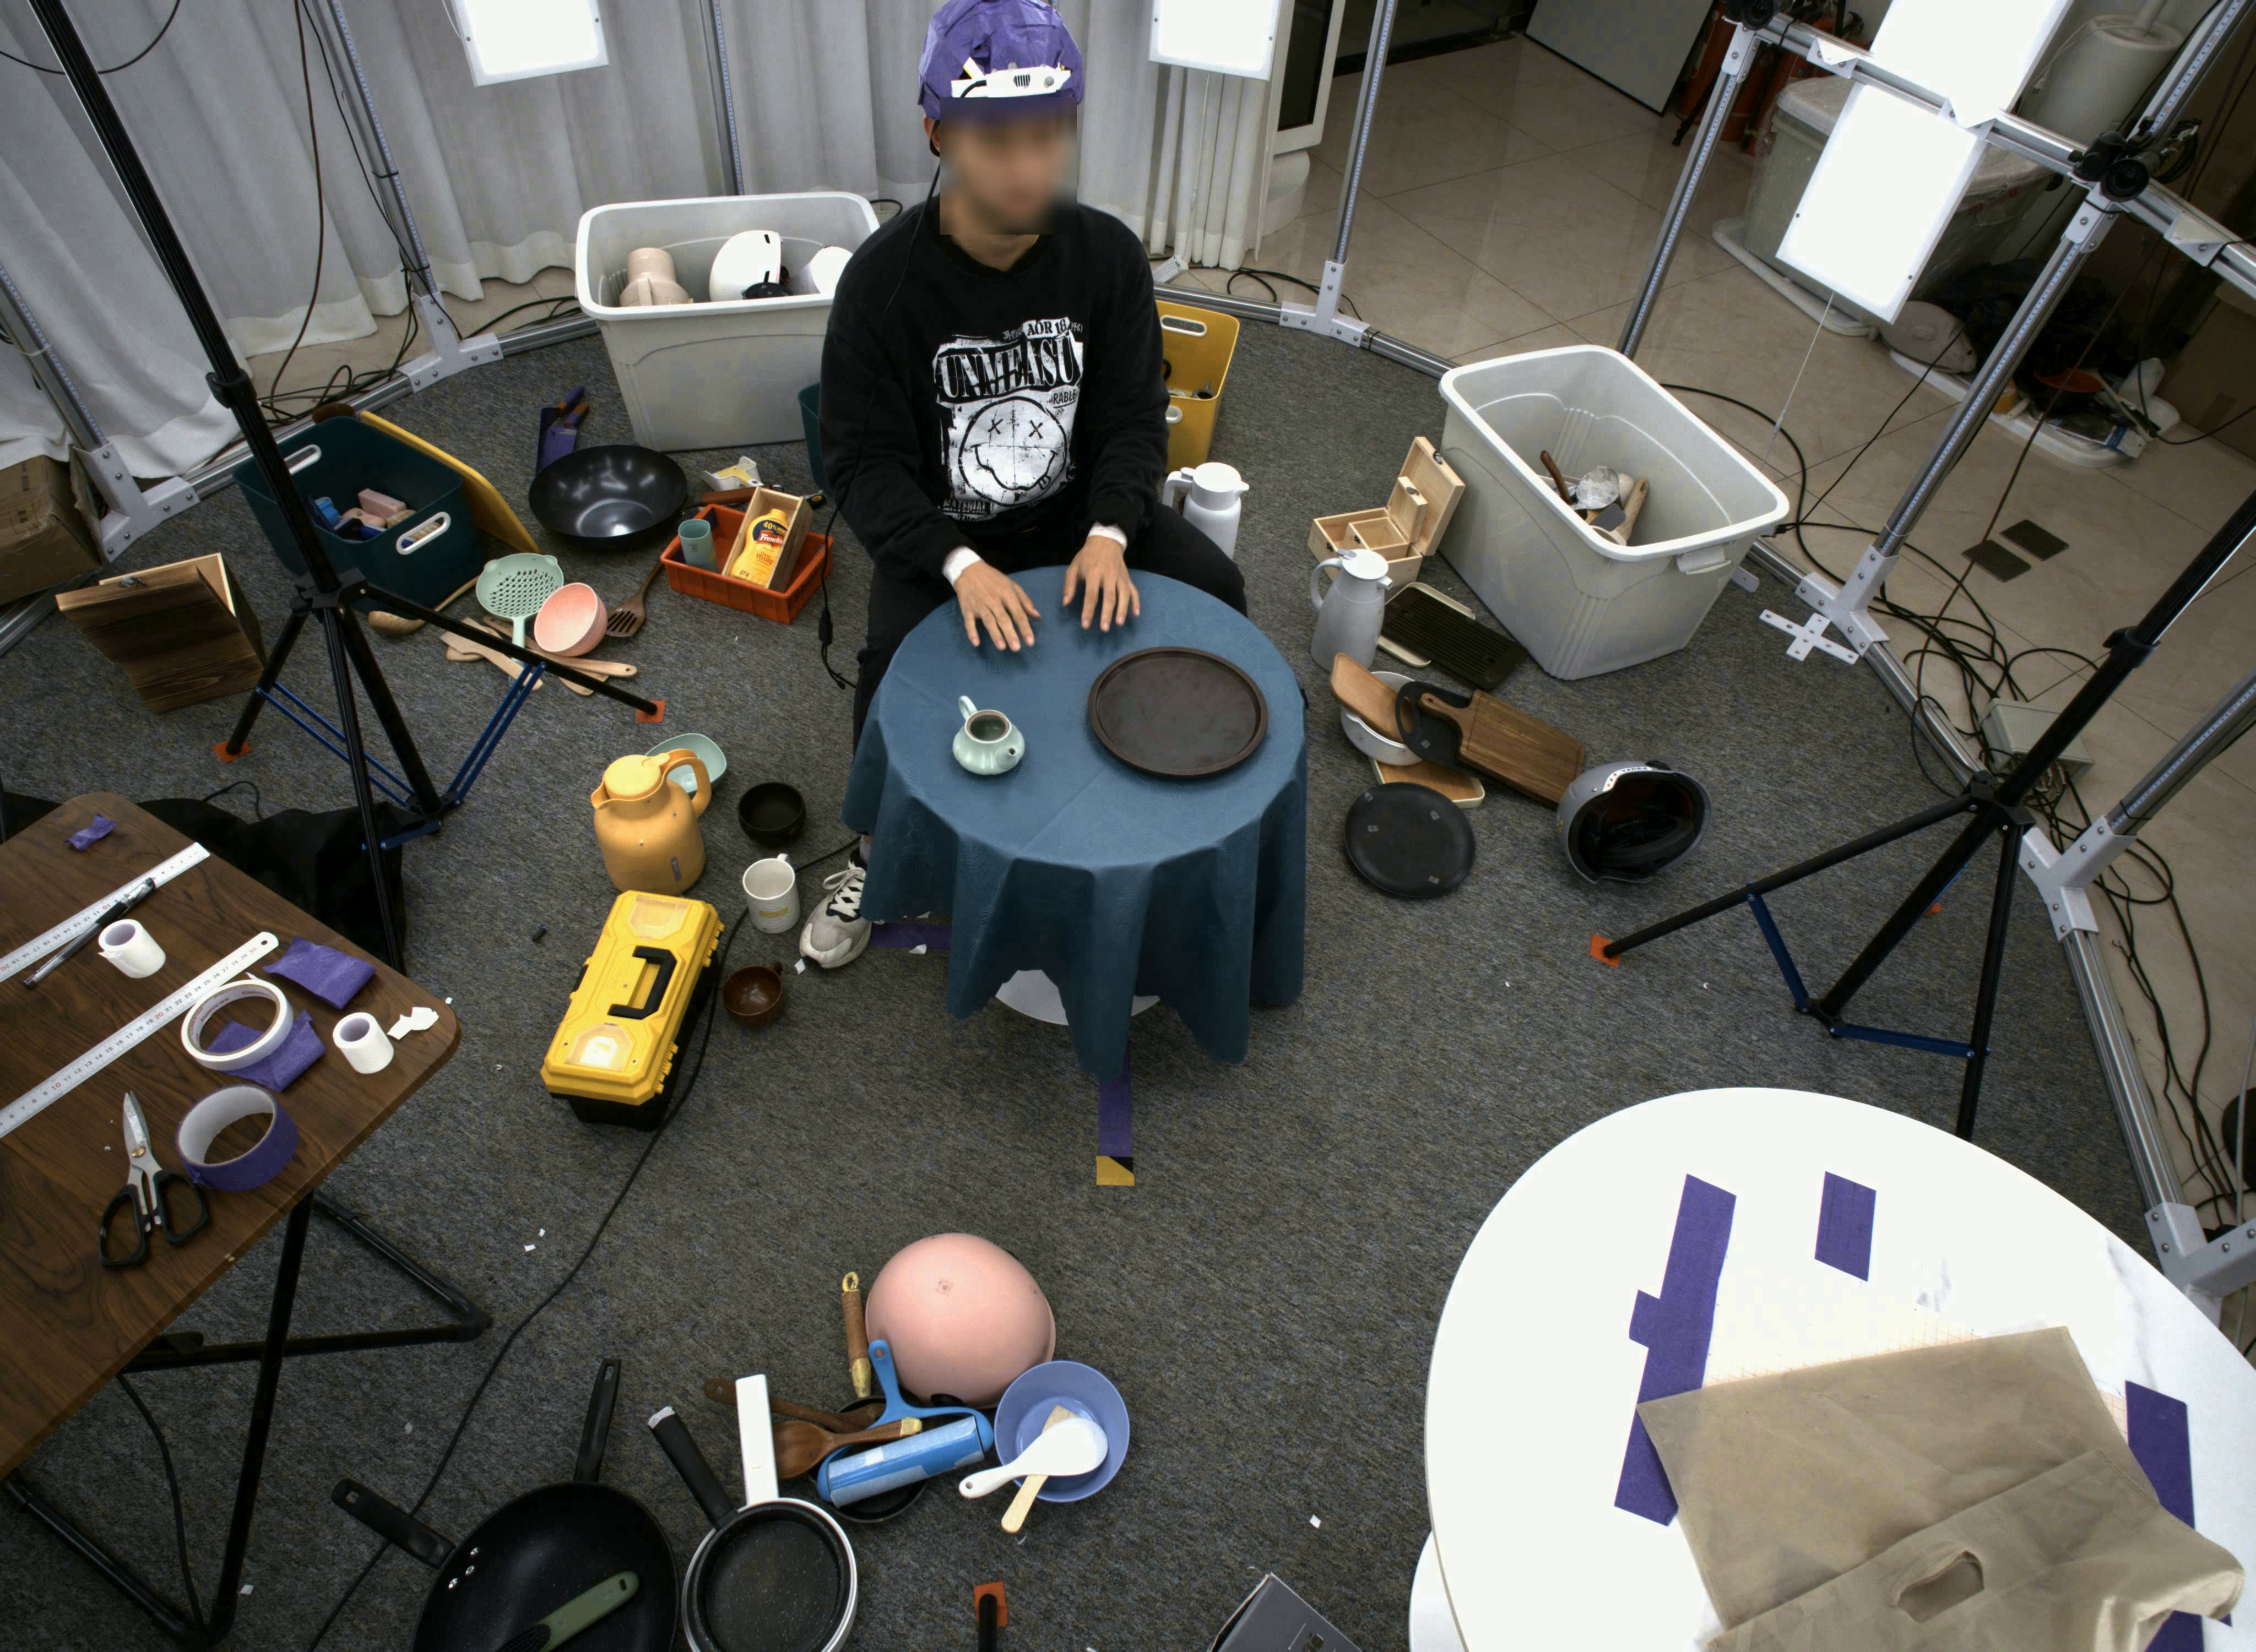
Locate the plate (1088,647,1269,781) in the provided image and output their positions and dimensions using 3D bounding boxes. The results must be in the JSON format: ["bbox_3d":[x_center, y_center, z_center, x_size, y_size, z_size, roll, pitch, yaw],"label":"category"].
[{"bbox_3d":[0.070,-0.159,1.796,0.254,0.028,0.261,1,50,-2],"label":"plate"}]

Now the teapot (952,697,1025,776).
[{"bbox_3d":[-0.190,-0.118,1.721,0.097,0.060,0.139,-30,58,-24],"label":"teapot"}]
